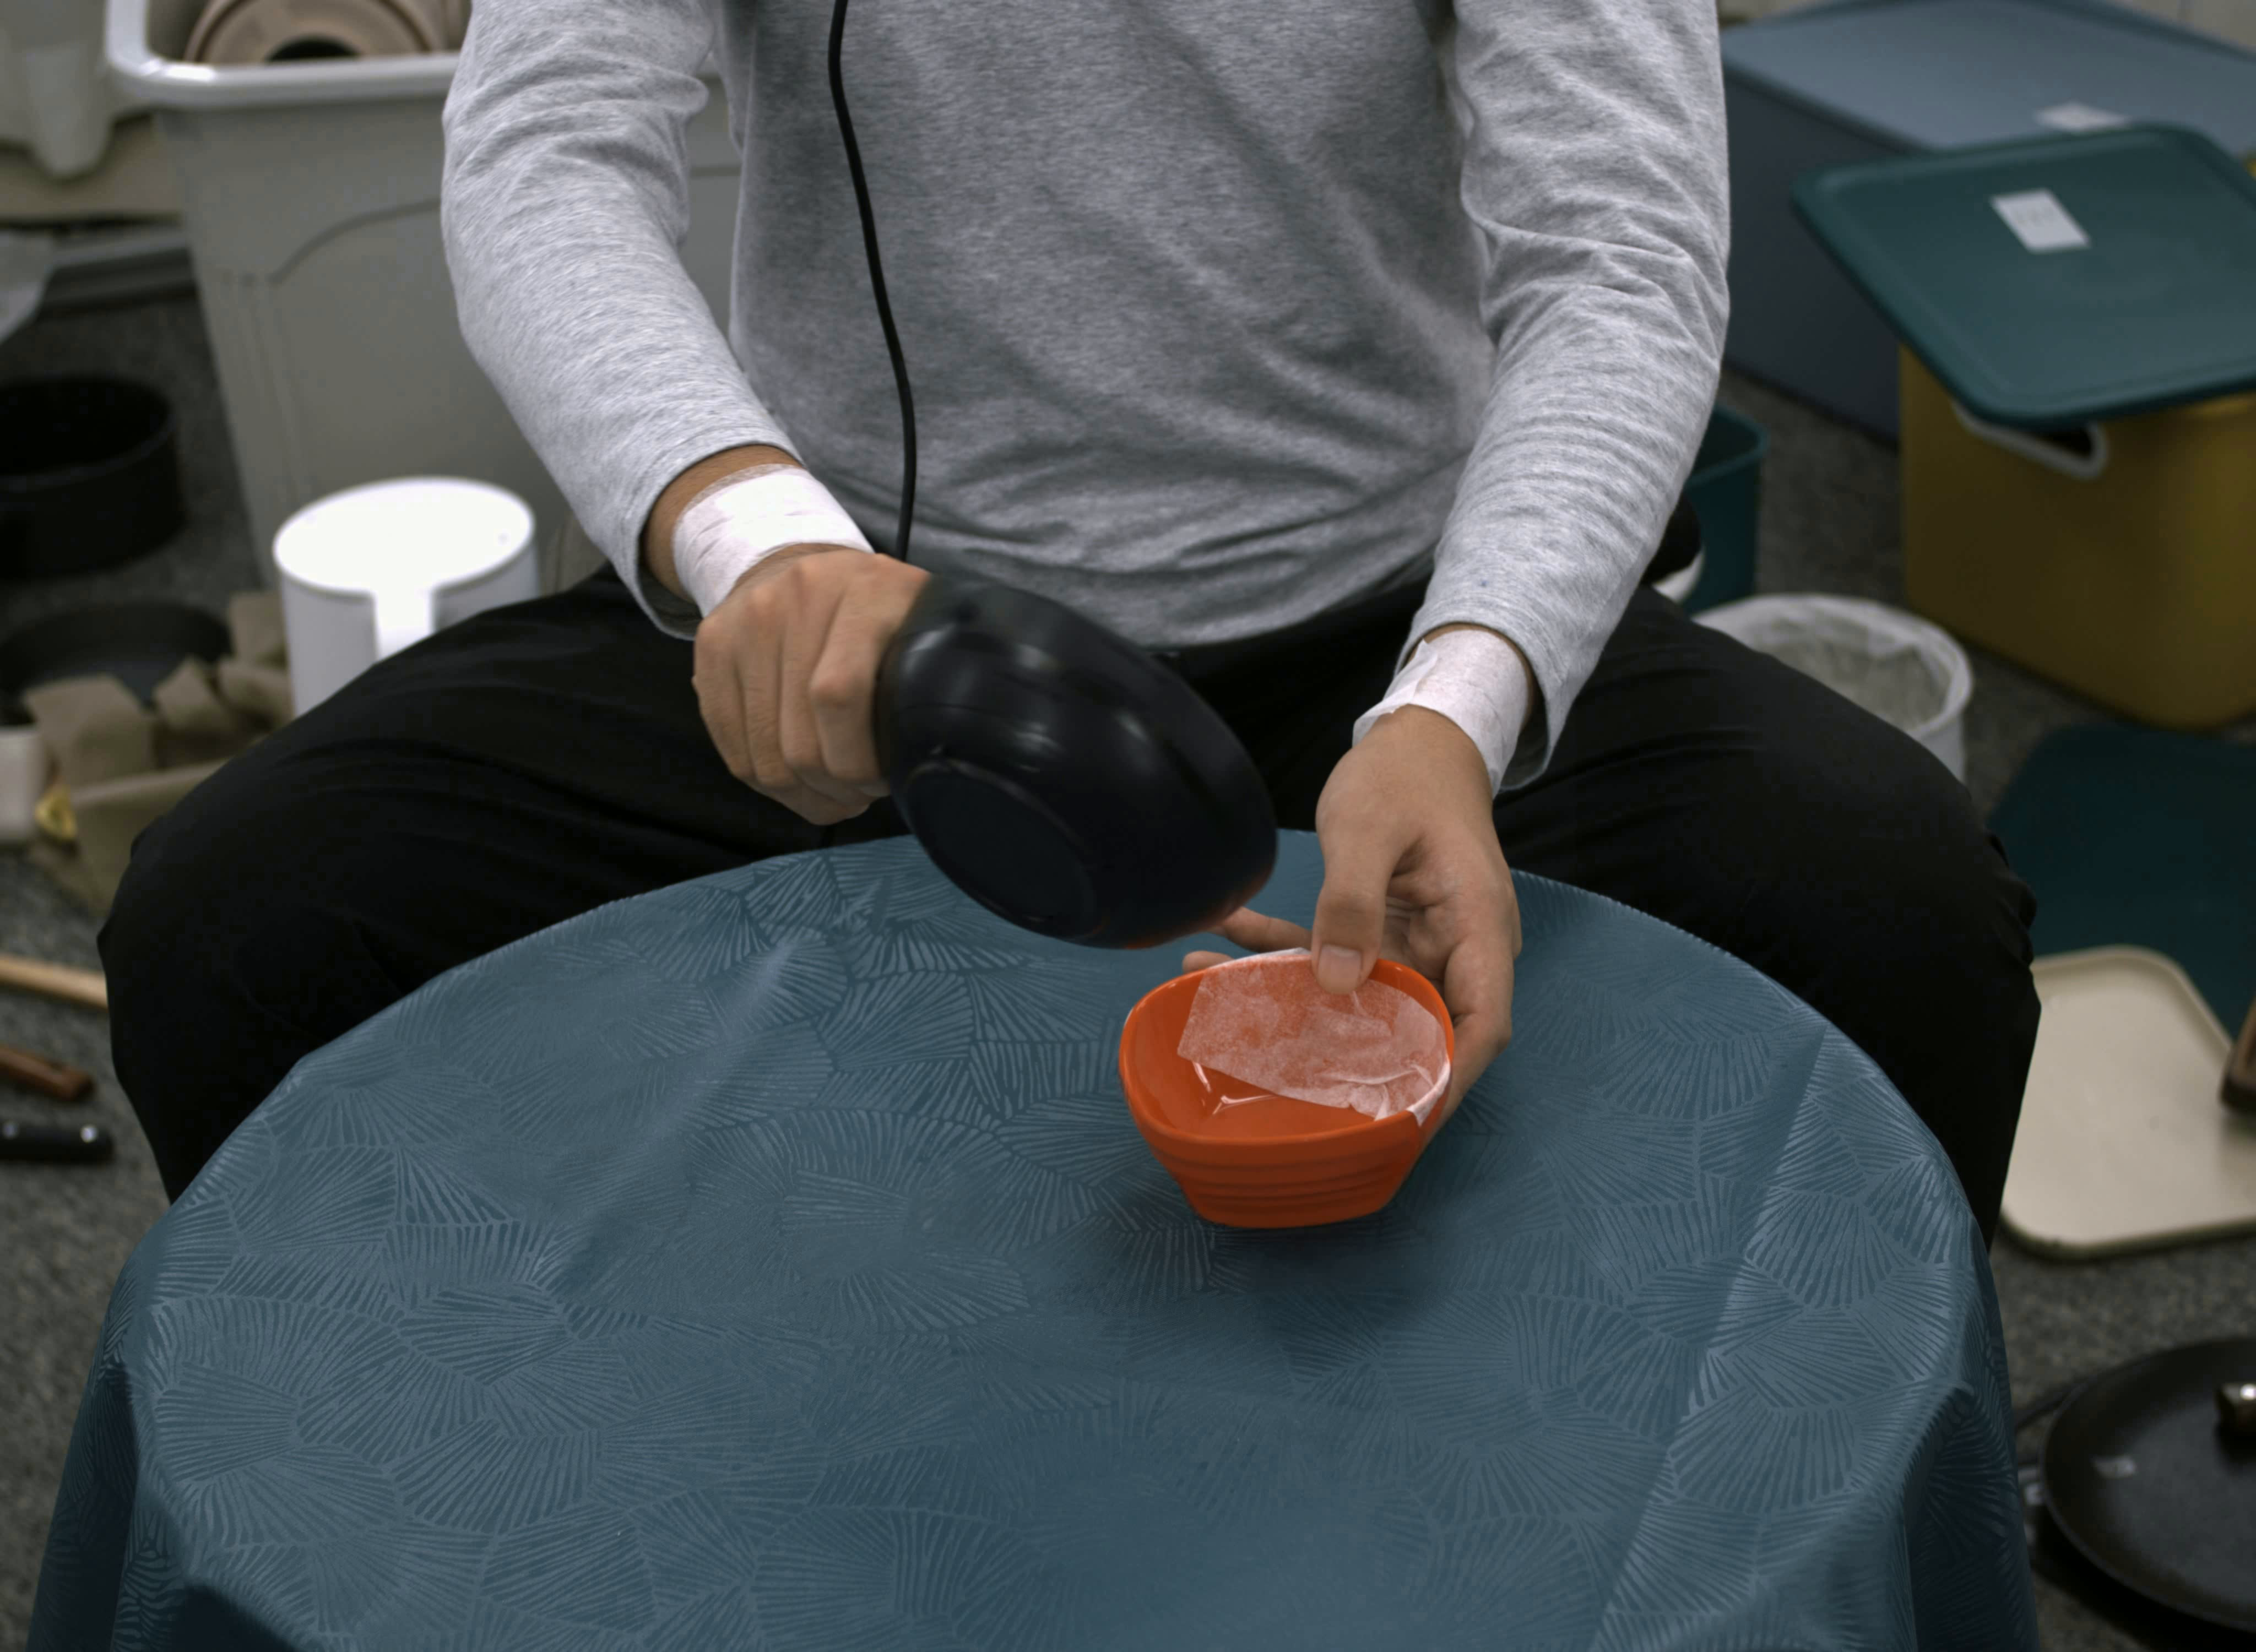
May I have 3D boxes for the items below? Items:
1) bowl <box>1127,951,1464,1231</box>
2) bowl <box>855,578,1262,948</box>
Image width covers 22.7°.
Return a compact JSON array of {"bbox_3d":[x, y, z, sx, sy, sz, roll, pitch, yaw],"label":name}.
[{"bbox_3d":[0.057,0.092,1.834,0.118,0.051,0.121,-5,31,3],"label":"bowl"},{"bbox_3d":[-0.030,-0.008,1.716,0.139,0.138,0.050,15,52,30],"label":"bowl"}]
